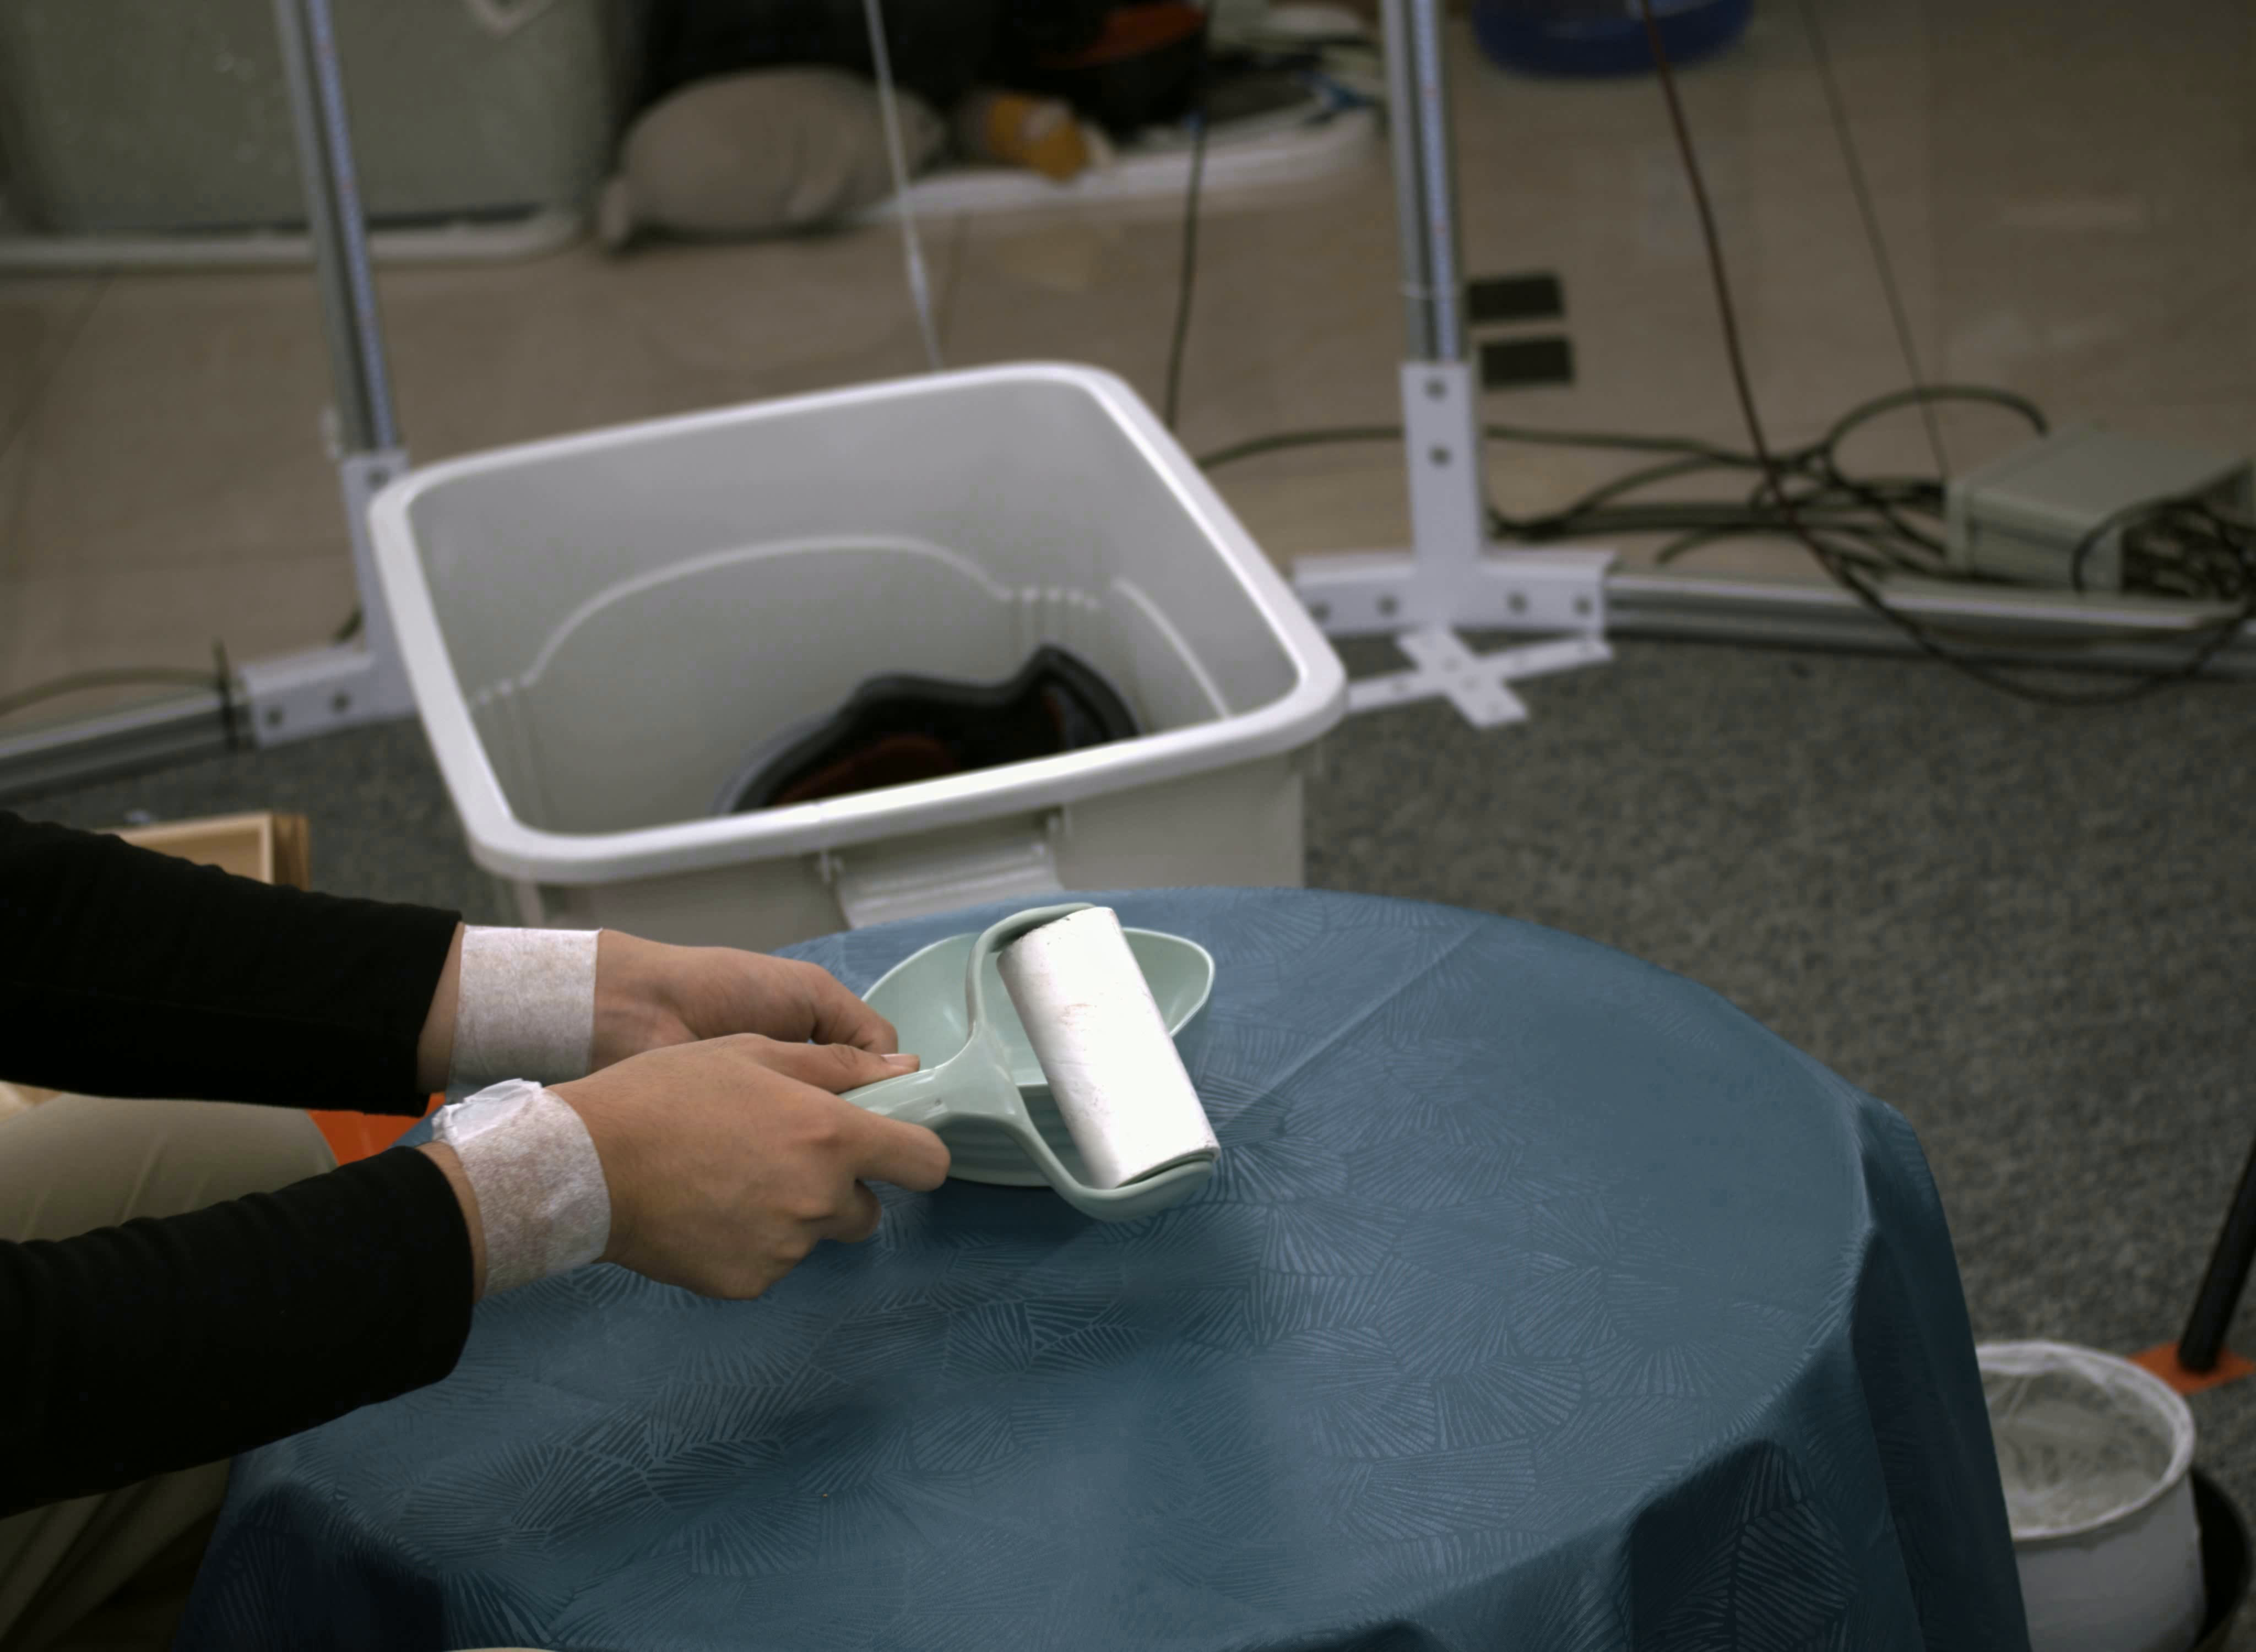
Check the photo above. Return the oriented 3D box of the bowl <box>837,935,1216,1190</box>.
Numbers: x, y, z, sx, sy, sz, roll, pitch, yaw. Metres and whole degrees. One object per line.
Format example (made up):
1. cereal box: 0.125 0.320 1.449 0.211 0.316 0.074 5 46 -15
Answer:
1. bowl: -0.036 0.095 2.182 0.151 0.059 0.149 -6 23 3

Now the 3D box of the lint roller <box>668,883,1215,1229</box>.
1. lint roller: -0.074 0.097 2.035 0.196 0.116 0.049 -17 -16 -25
